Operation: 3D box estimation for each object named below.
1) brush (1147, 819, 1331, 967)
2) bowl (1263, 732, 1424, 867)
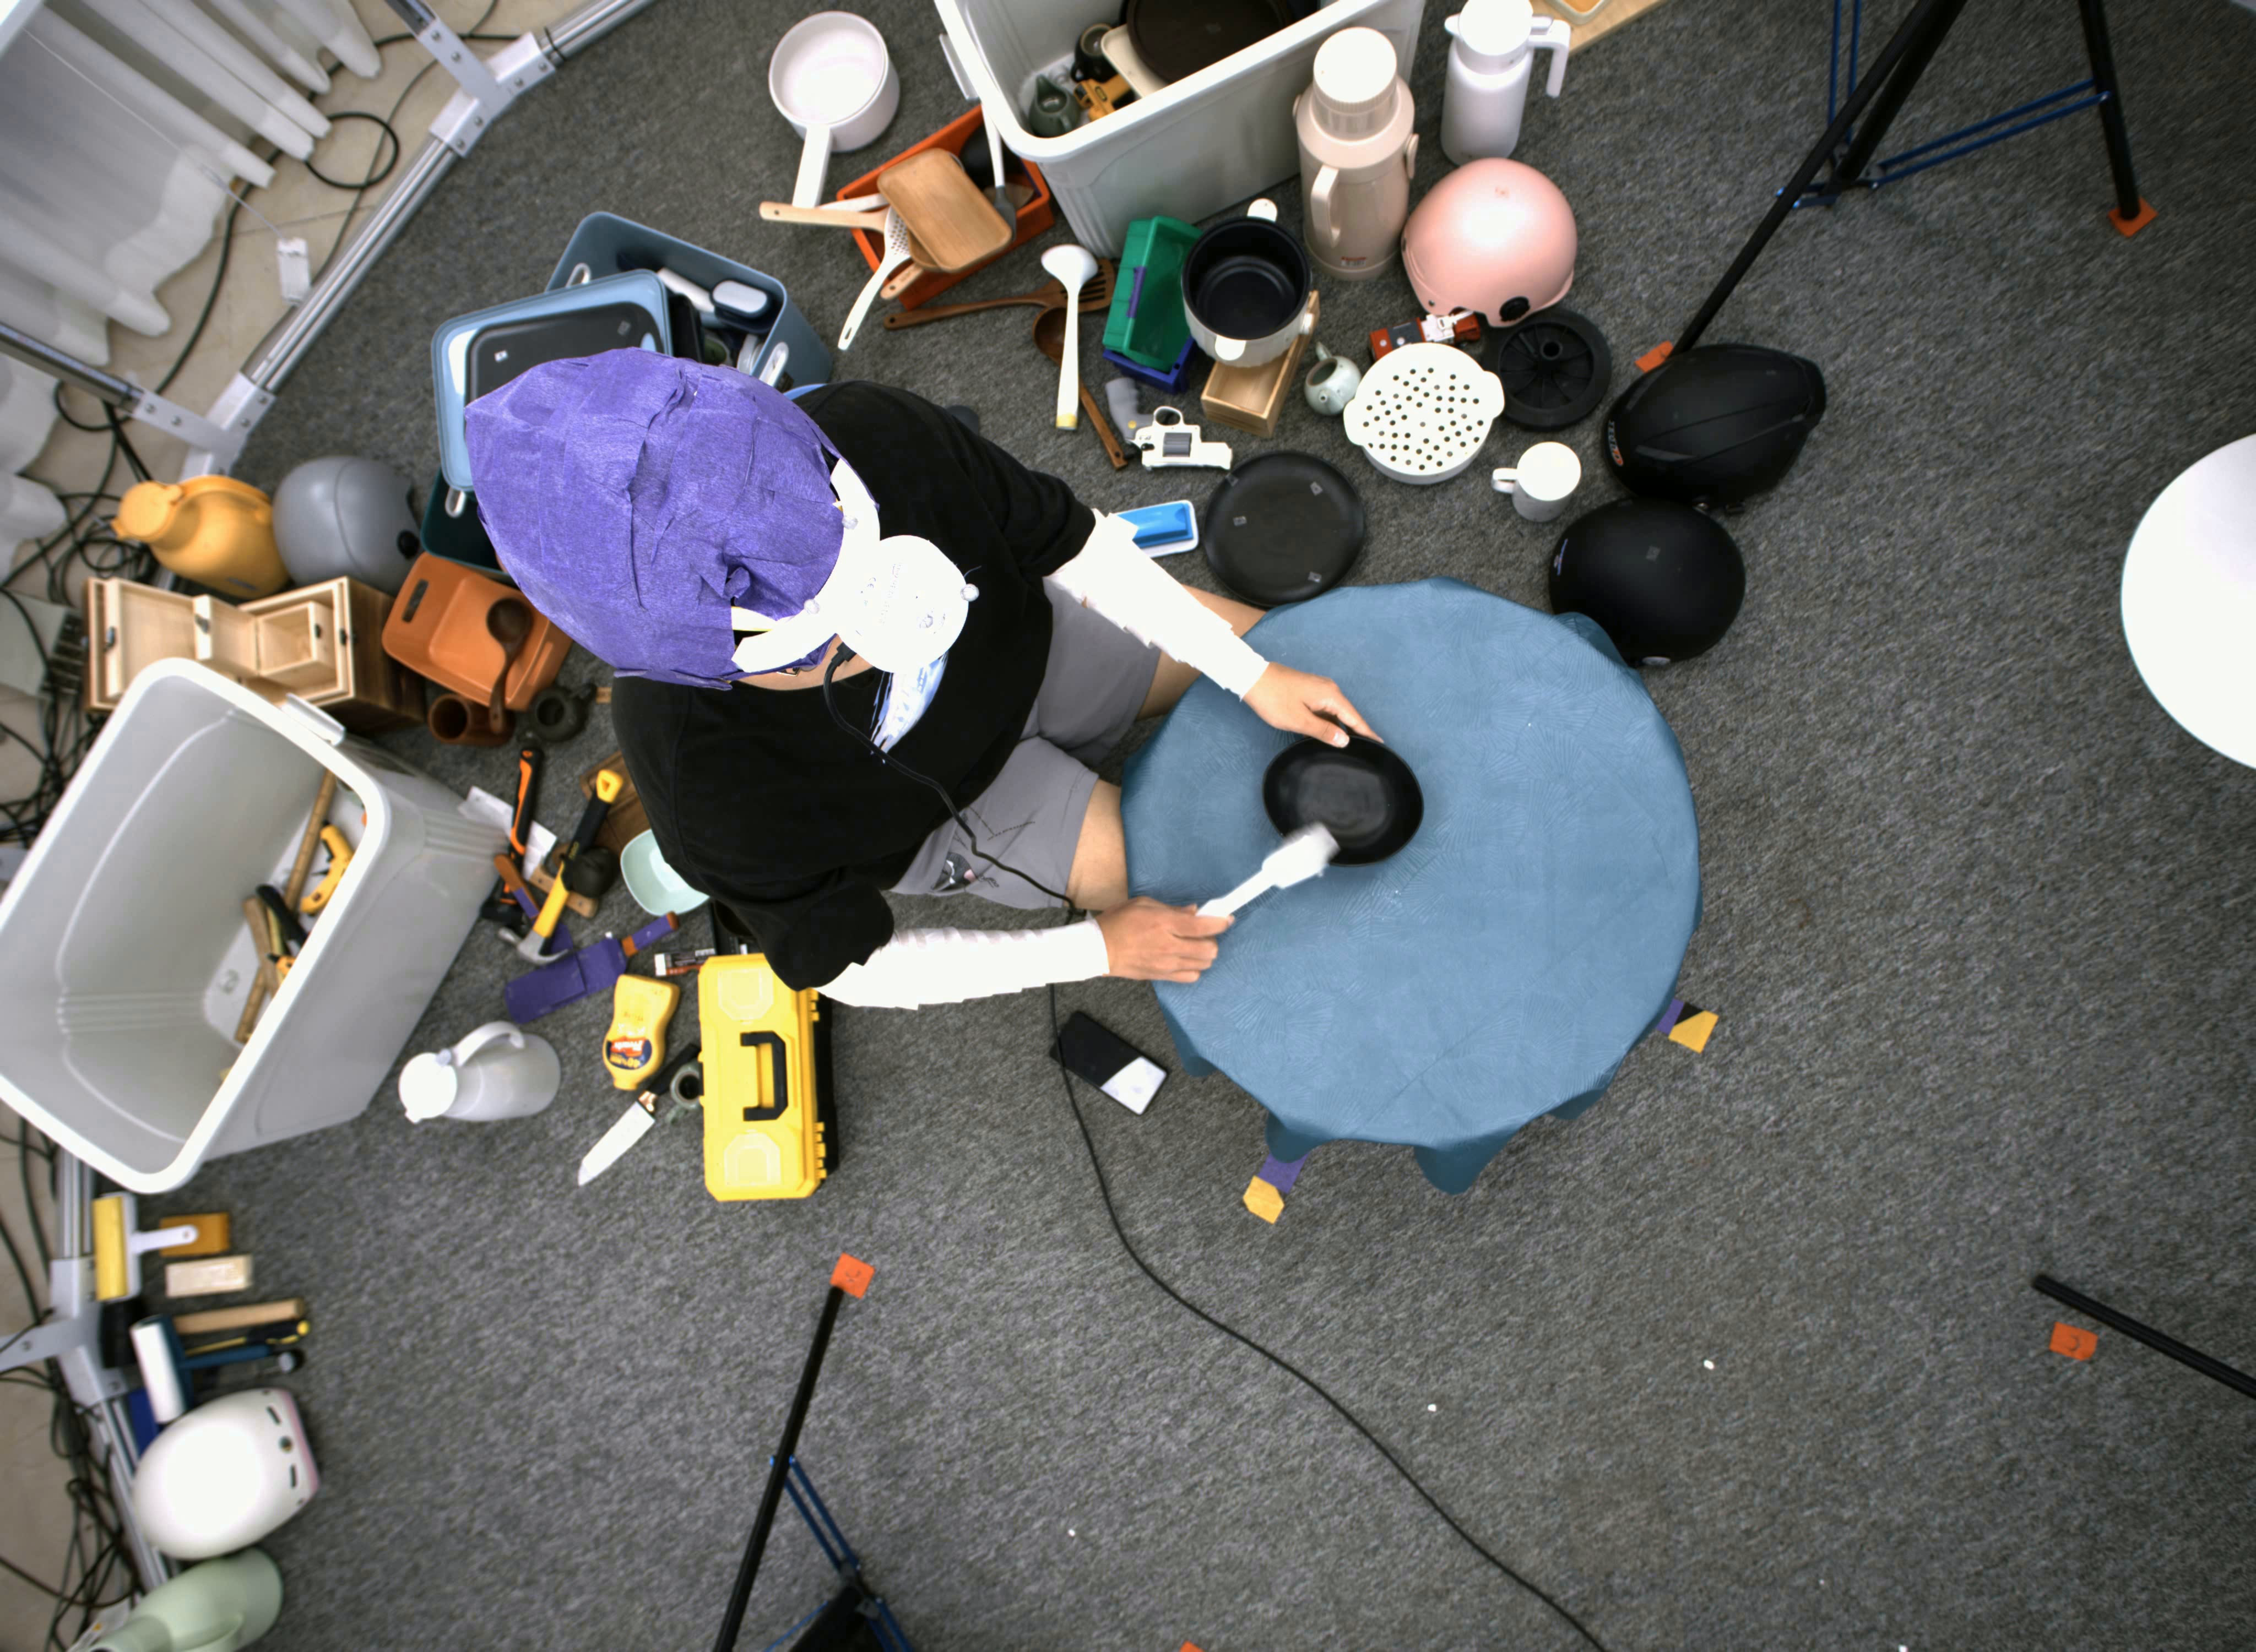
[{"bbox_3d":[0.111,0.070,1.436,0.034,0.049,0.248,44,123,-10],"label":"brush"},{"bbox_3d":[0.224,-0.026,1.440,0.170,0.067,0.137,16,90,14],"label":"bowl"}]
